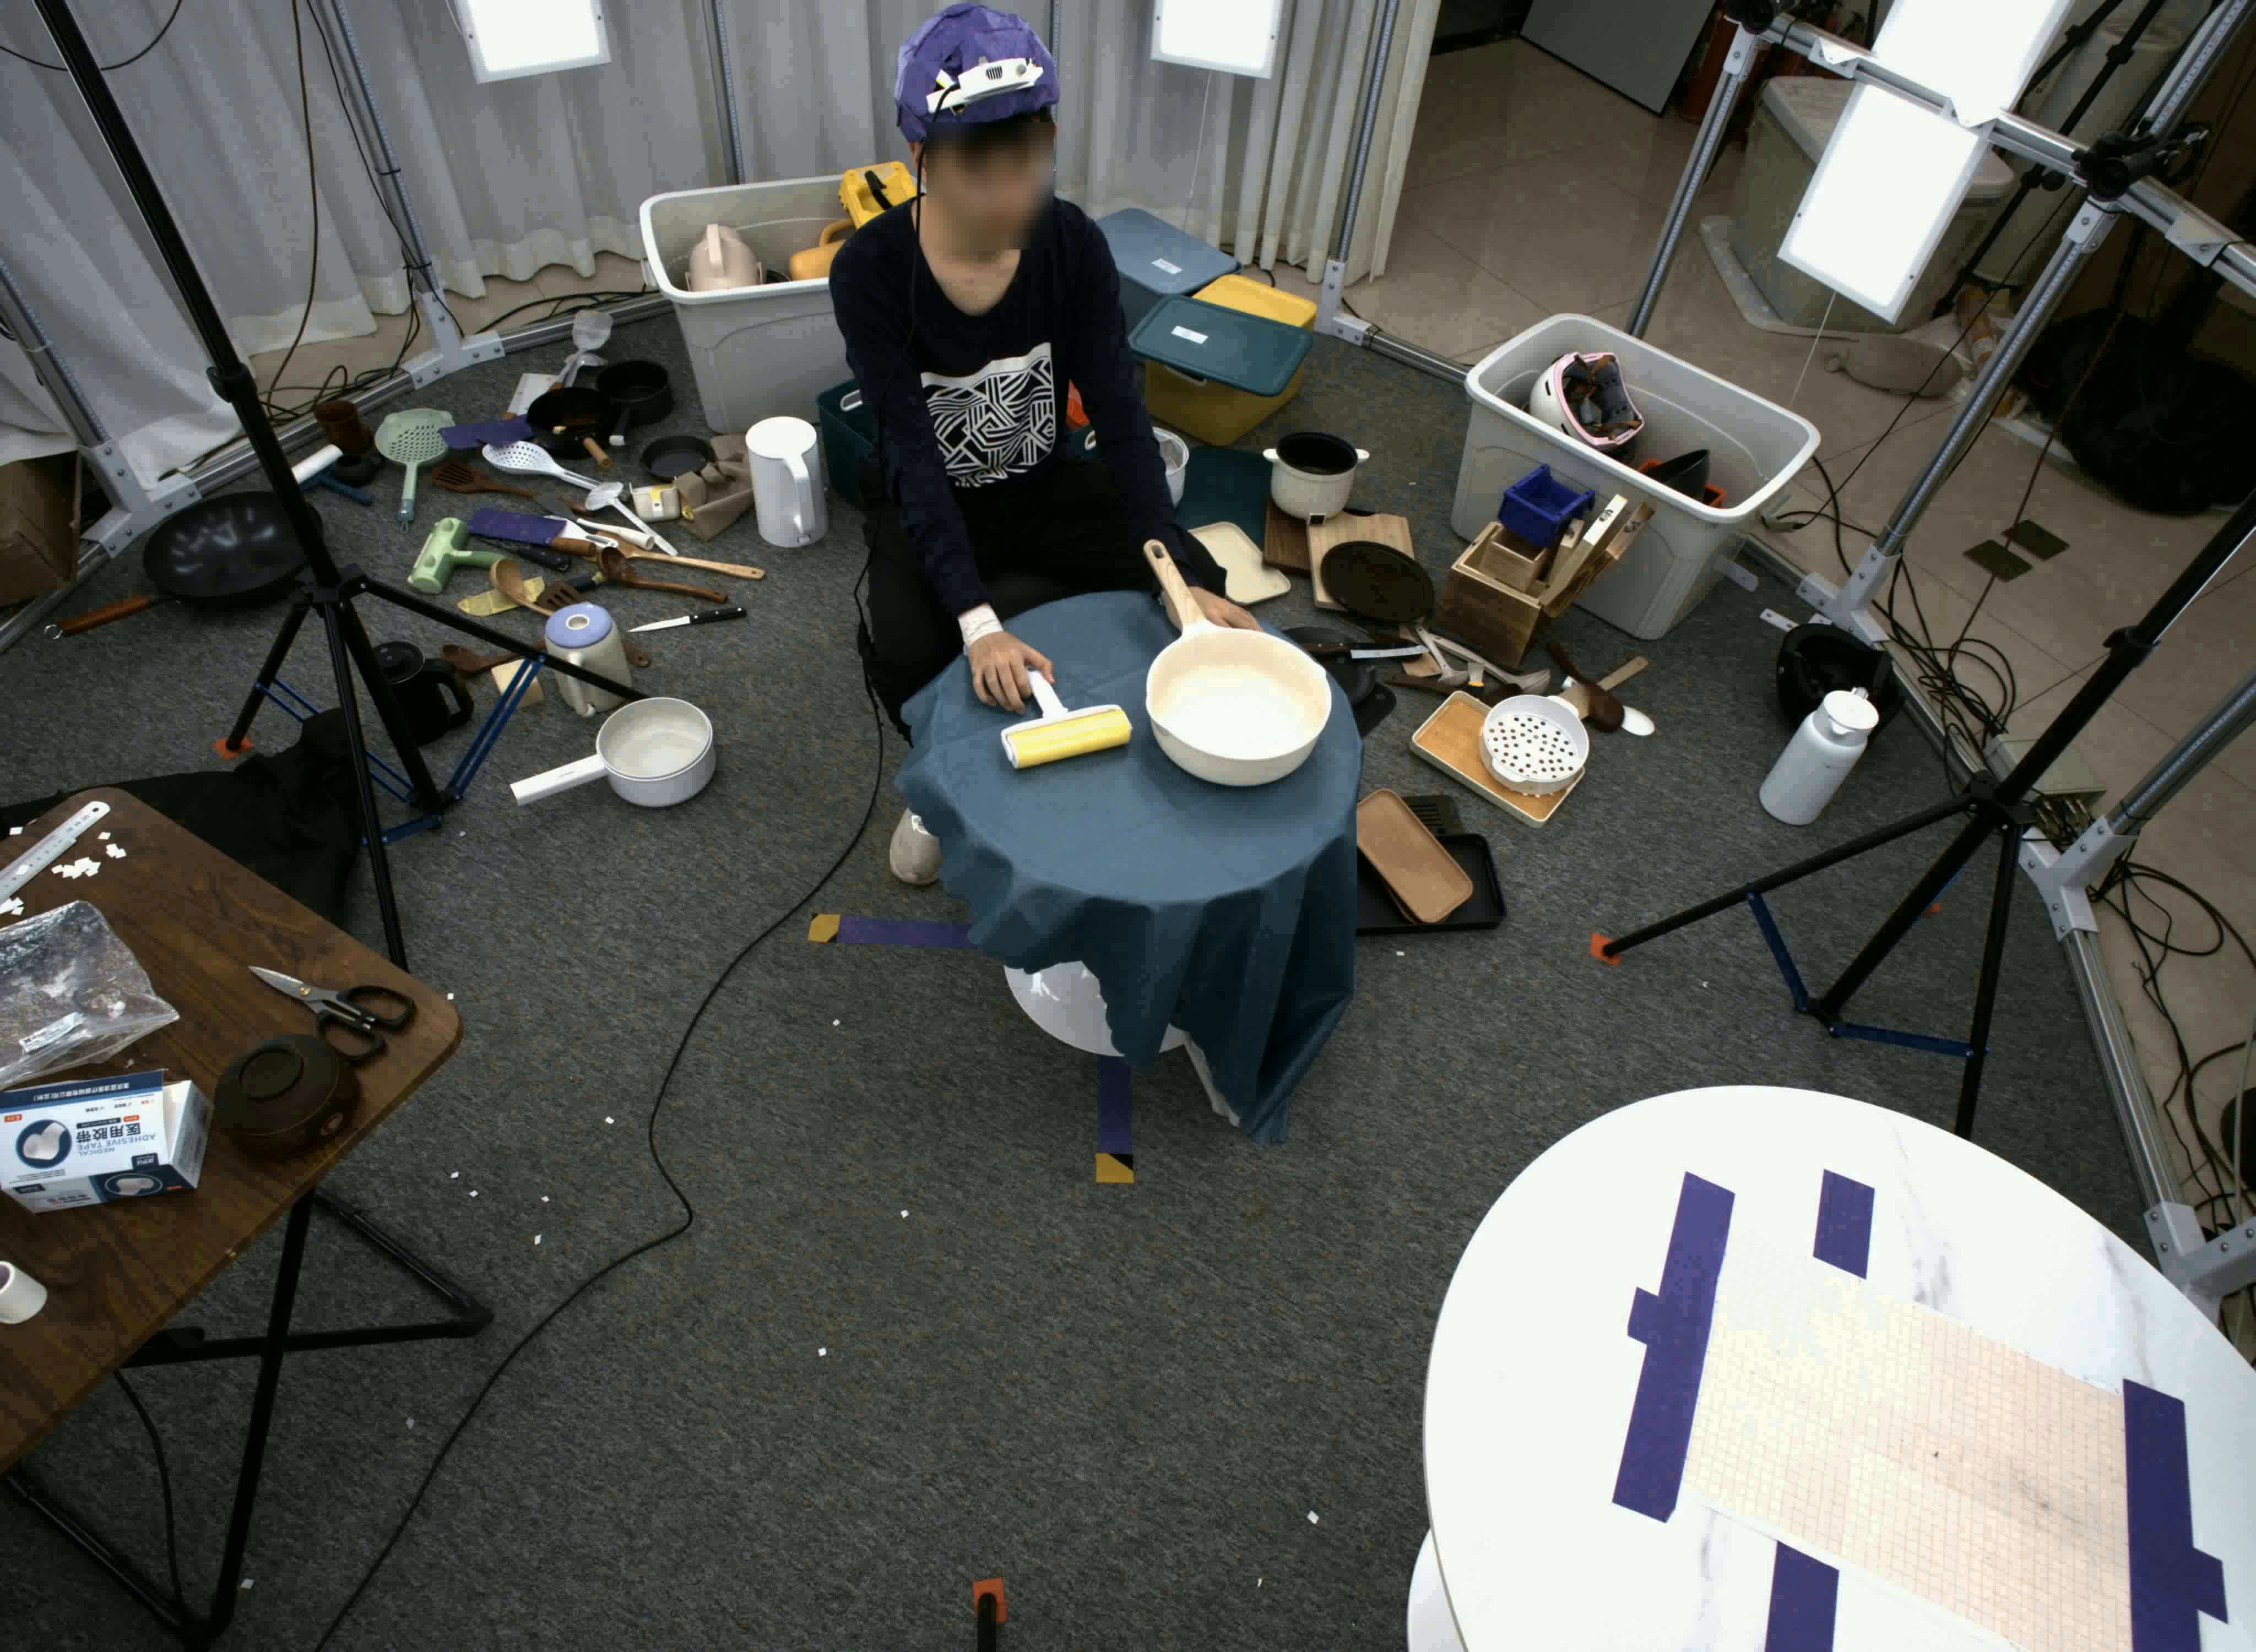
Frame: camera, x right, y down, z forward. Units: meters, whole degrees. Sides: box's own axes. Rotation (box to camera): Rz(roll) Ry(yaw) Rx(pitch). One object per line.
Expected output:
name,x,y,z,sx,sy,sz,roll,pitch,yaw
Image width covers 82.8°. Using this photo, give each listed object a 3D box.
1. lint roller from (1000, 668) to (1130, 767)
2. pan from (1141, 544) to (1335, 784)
lint roller,-0.108,-0.169,1.777,0.174,0.050,0.196,-14,50,-16
pan,0.117,-0.231,1.812,0.263,0.099,0.445,-17,52,-15
